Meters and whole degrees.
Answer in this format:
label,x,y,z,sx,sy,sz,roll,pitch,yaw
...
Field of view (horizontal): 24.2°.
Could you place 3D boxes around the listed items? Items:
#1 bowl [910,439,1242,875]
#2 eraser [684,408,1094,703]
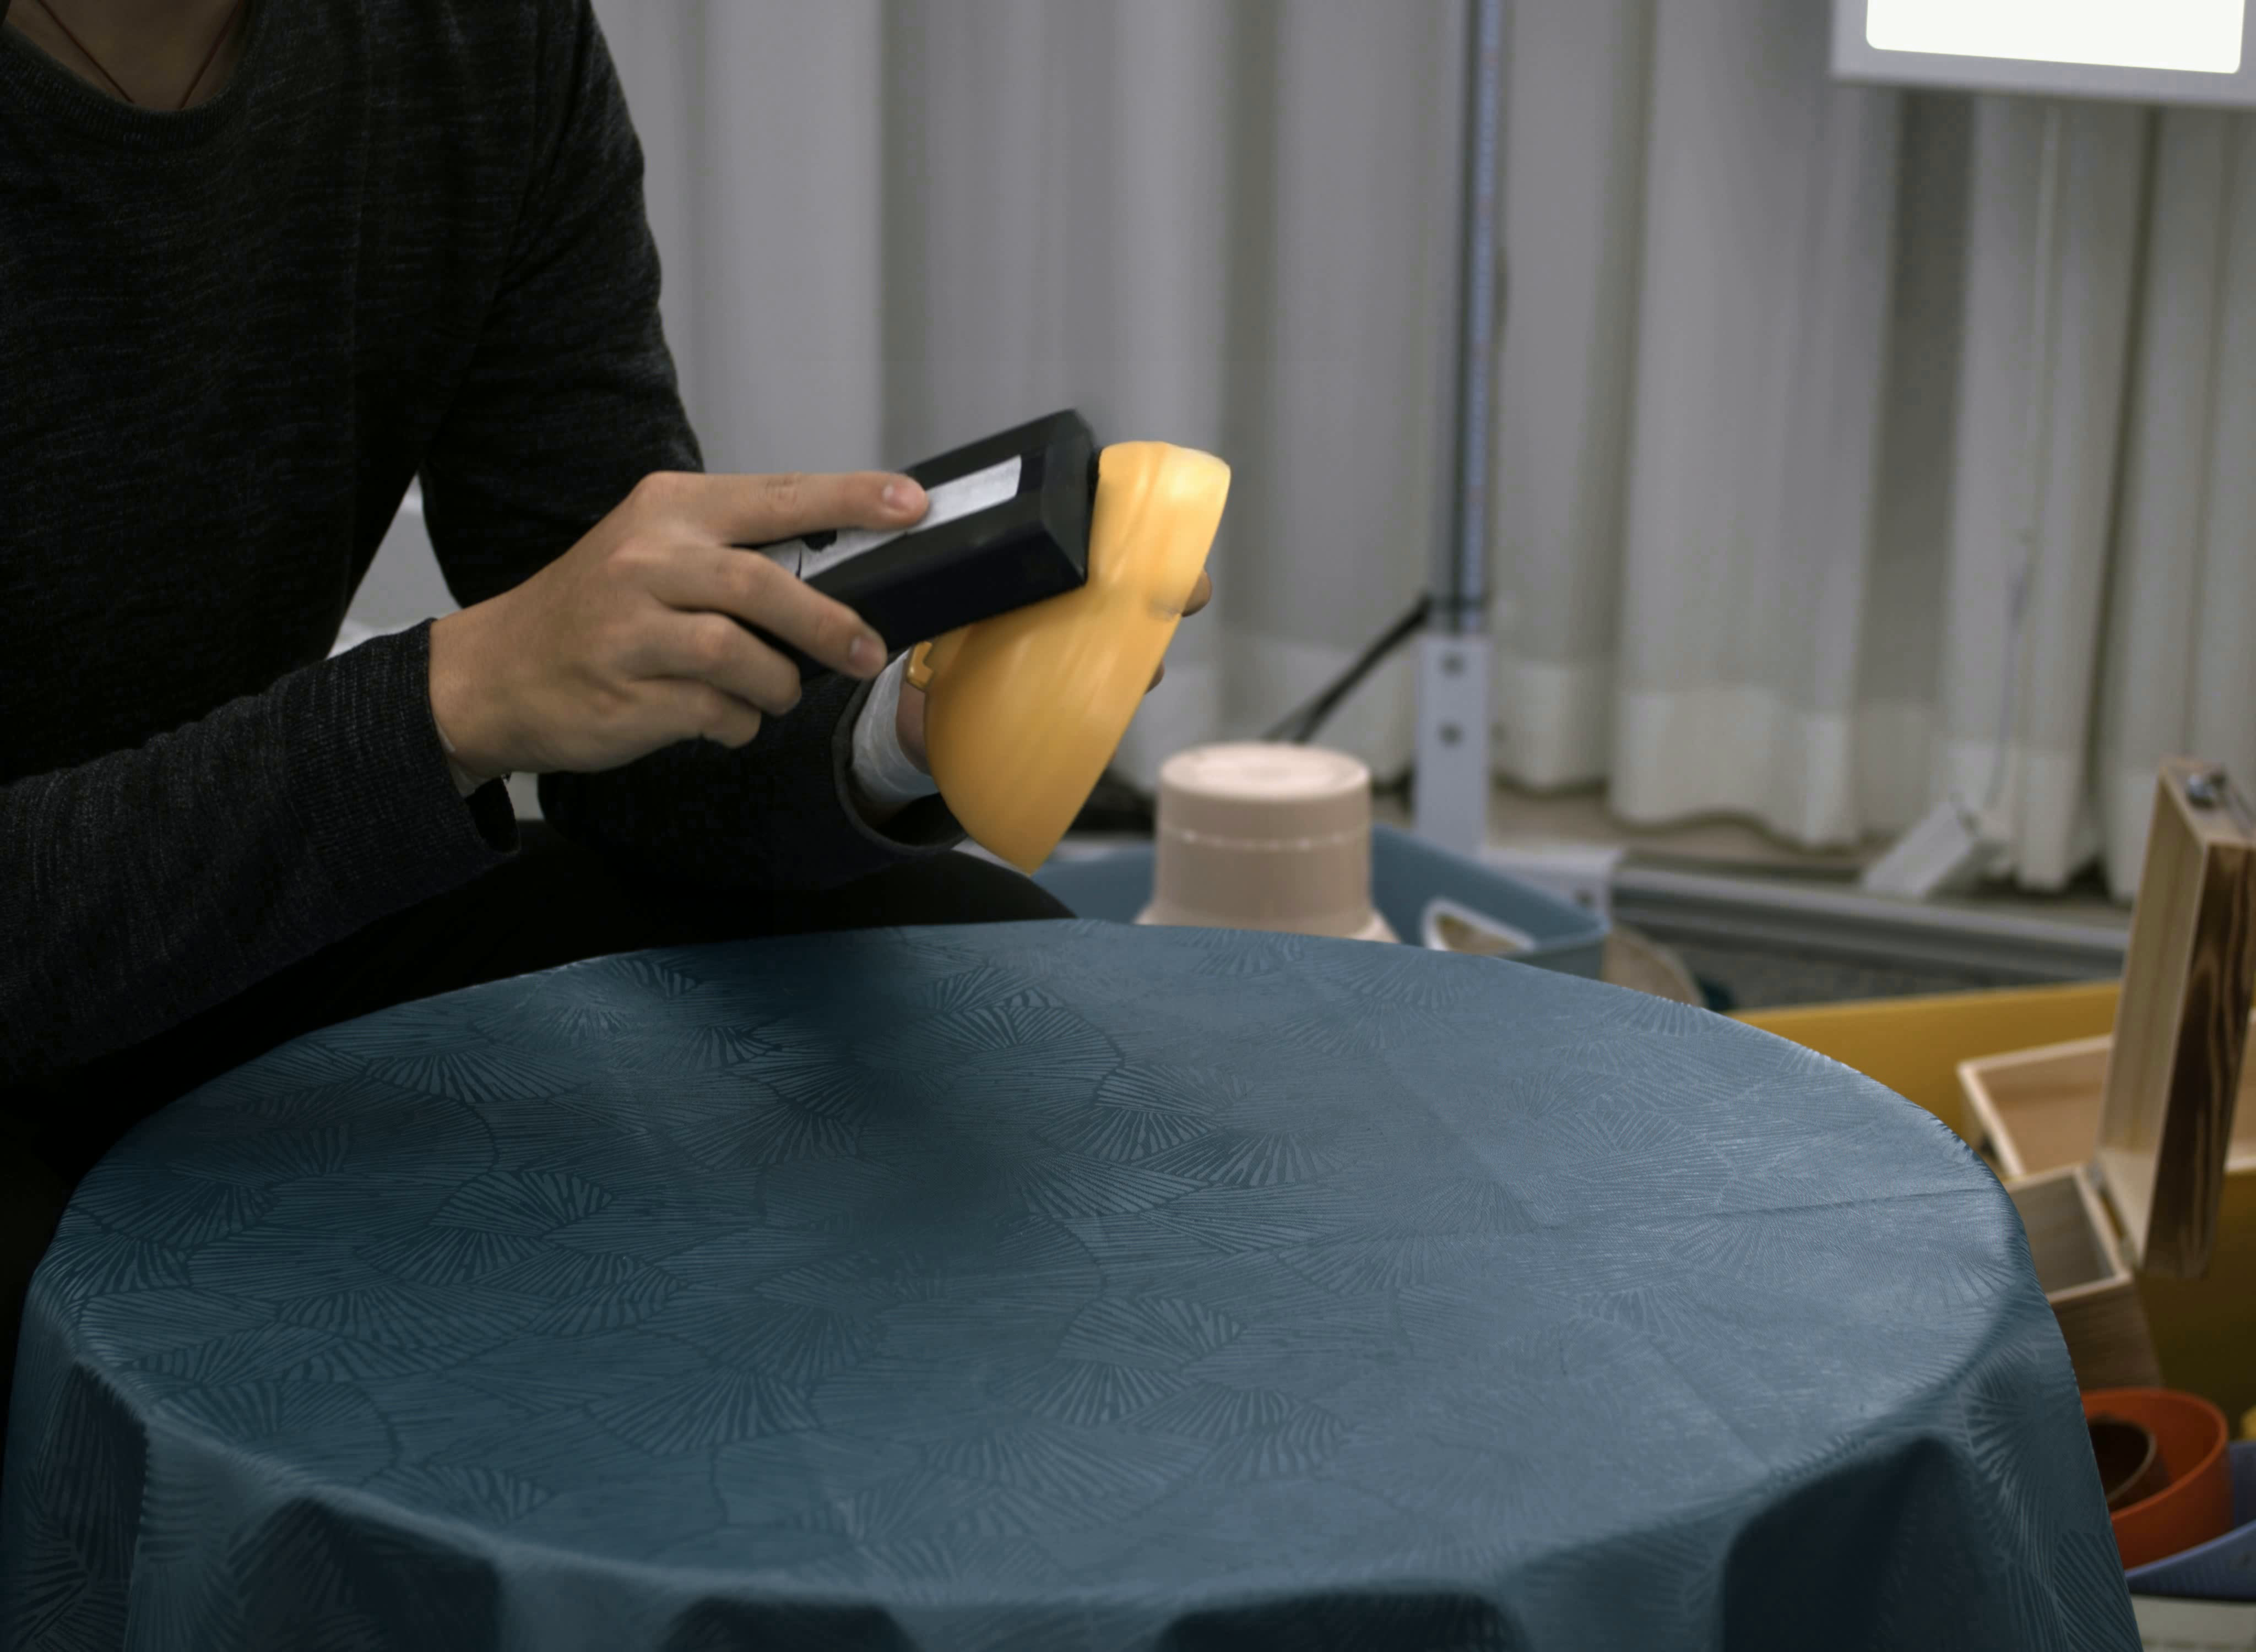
label,x,y,z,sx,sy,sz,roll,pitch,yaw
bowl,-0.025,-0.062,1.590,0.060,0.146,0.144,28,15,-6
eraser,-0.069,-0.080,1.547,0.125,0.031,0.053,-19,40,19
